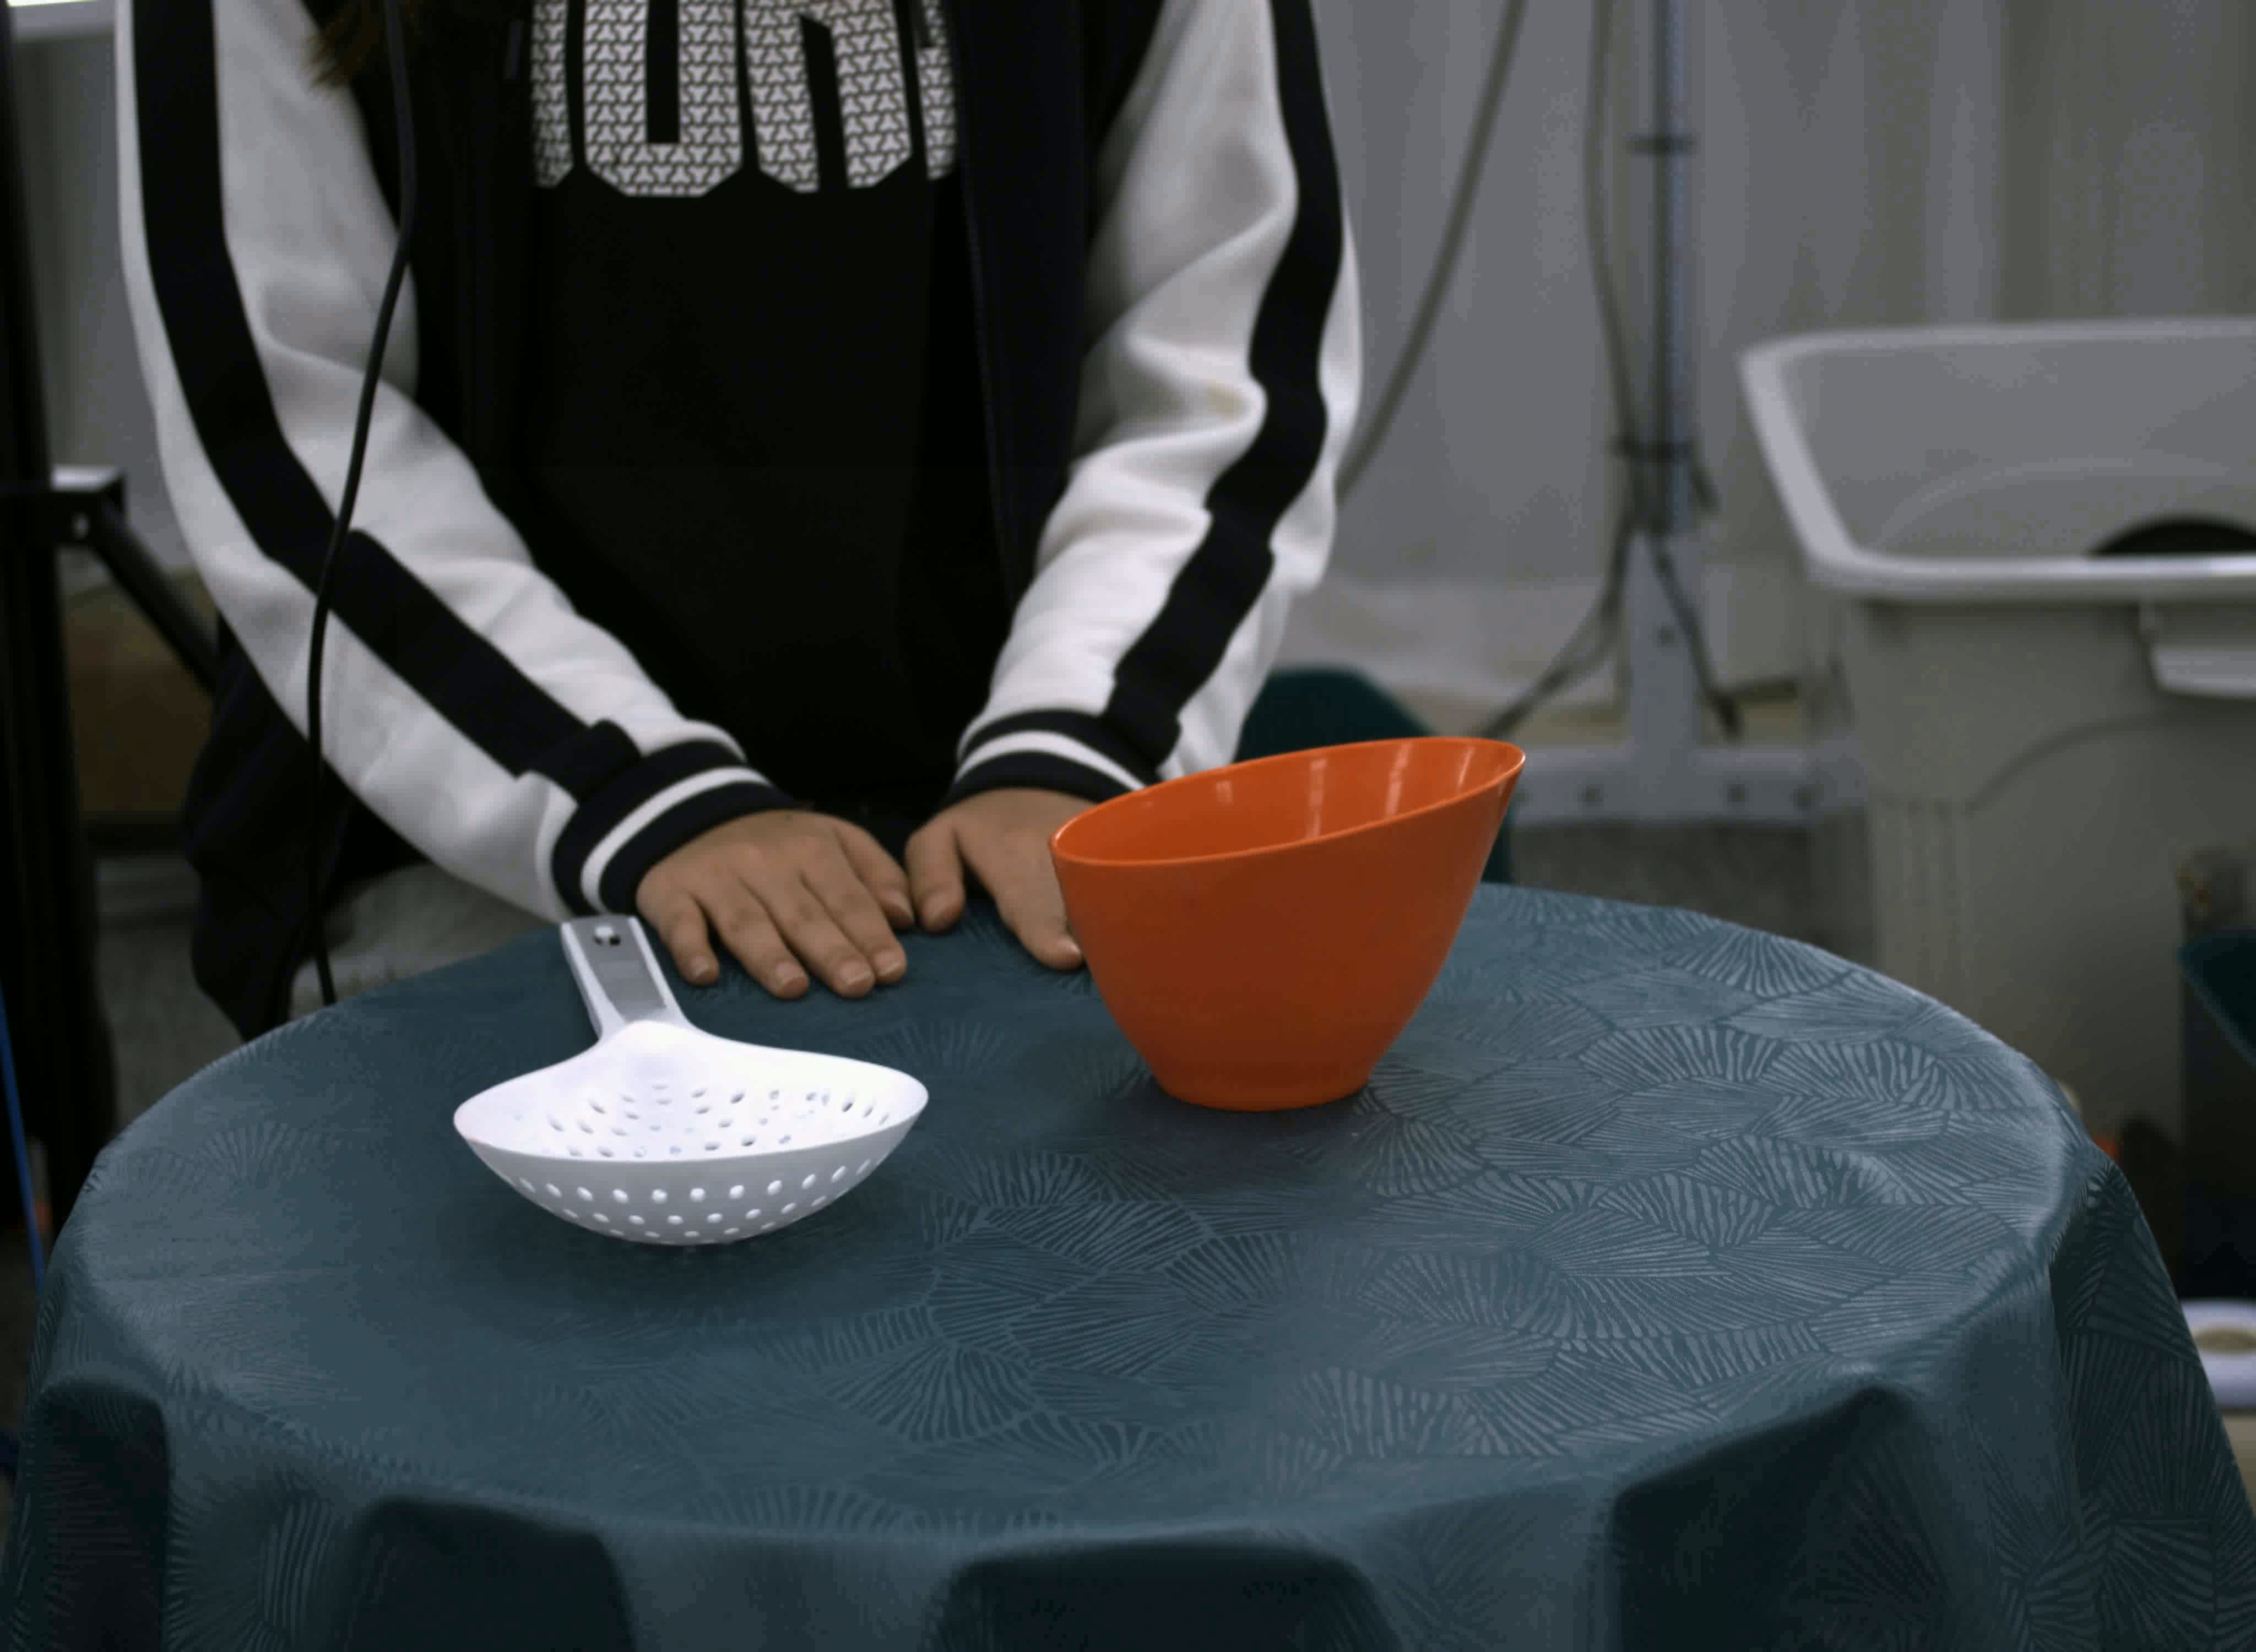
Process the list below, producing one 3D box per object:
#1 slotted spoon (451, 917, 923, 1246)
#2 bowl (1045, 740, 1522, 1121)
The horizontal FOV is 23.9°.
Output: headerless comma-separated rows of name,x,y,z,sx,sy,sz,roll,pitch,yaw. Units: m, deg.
slotted spoon,-0.146,0.069,1.638,0.134,0.046,0.354,-4,15,-10
bowl,0.049,0.033,1.634,0.147,0.104,0.149,-4,16,0
